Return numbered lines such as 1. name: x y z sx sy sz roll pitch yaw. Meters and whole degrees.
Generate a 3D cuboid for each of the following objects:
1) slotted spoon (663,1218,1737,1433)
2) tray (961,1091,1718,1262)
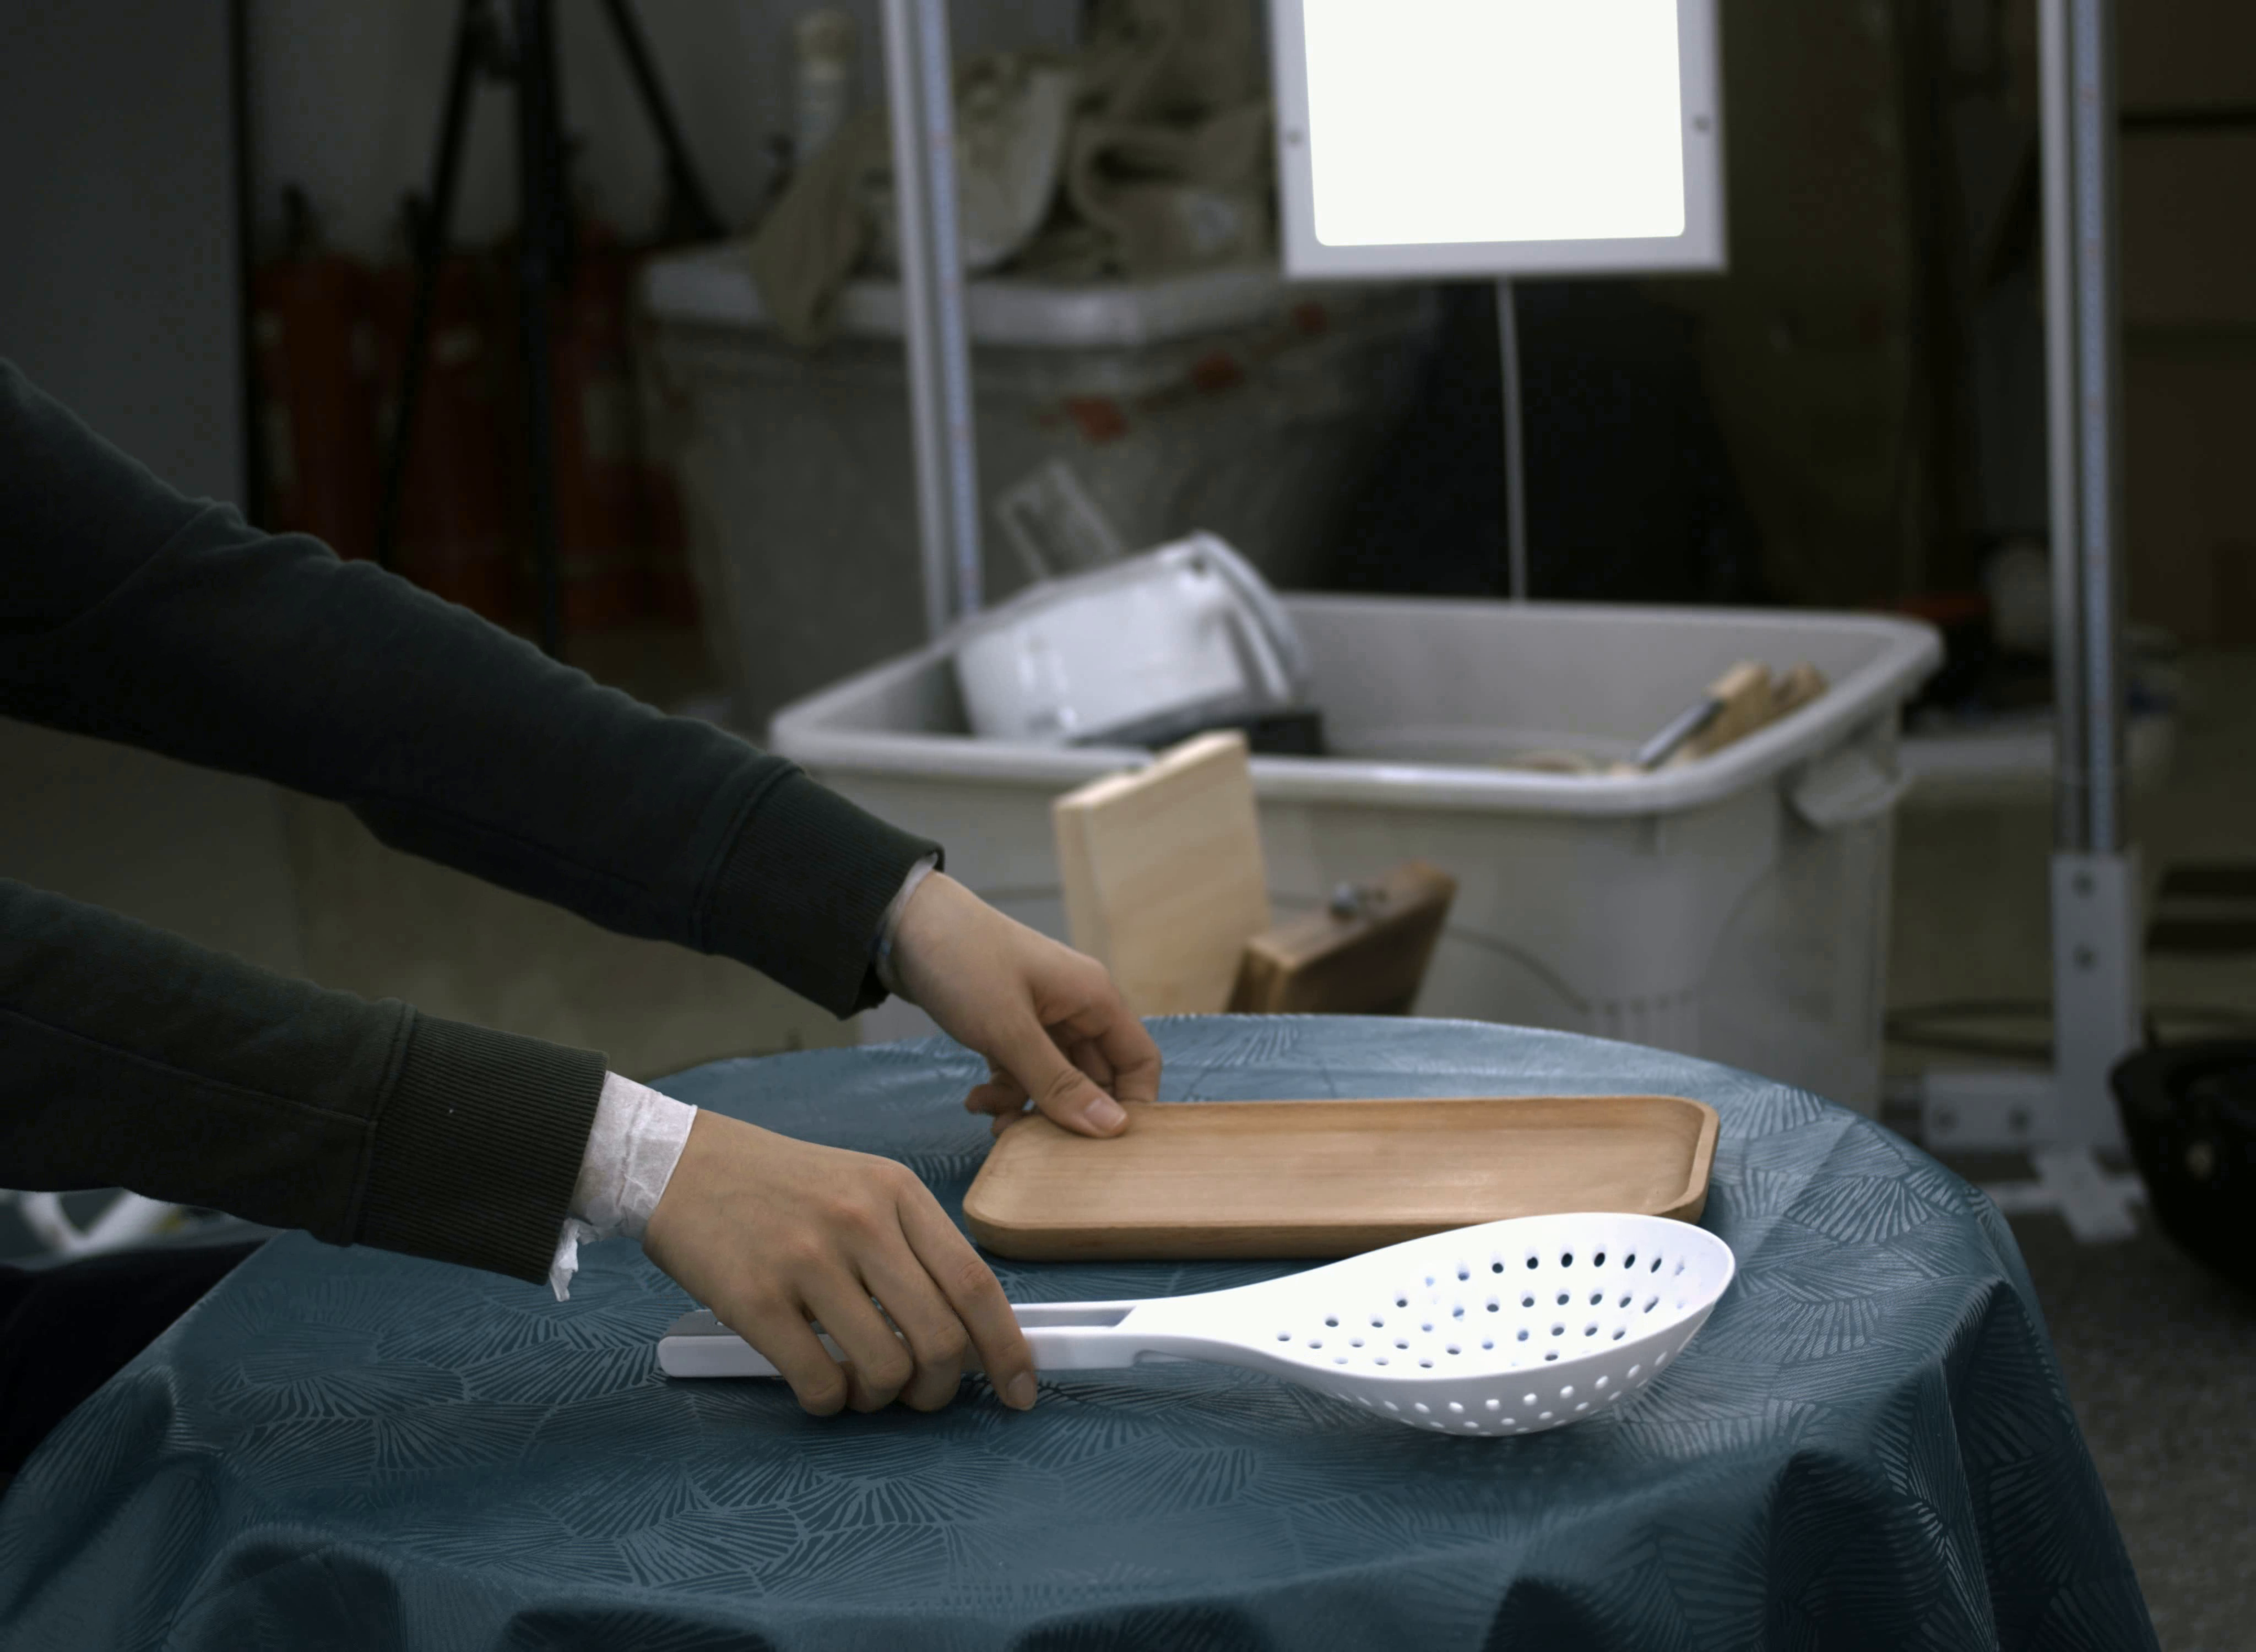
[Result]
1. slotted spoon: 0.017 0.153 1.685 0.355 0.046 0.133 0 15 23
2. tray: 0.073 0.119 1.862 0.253 0.023 0.129 -2 13 14
